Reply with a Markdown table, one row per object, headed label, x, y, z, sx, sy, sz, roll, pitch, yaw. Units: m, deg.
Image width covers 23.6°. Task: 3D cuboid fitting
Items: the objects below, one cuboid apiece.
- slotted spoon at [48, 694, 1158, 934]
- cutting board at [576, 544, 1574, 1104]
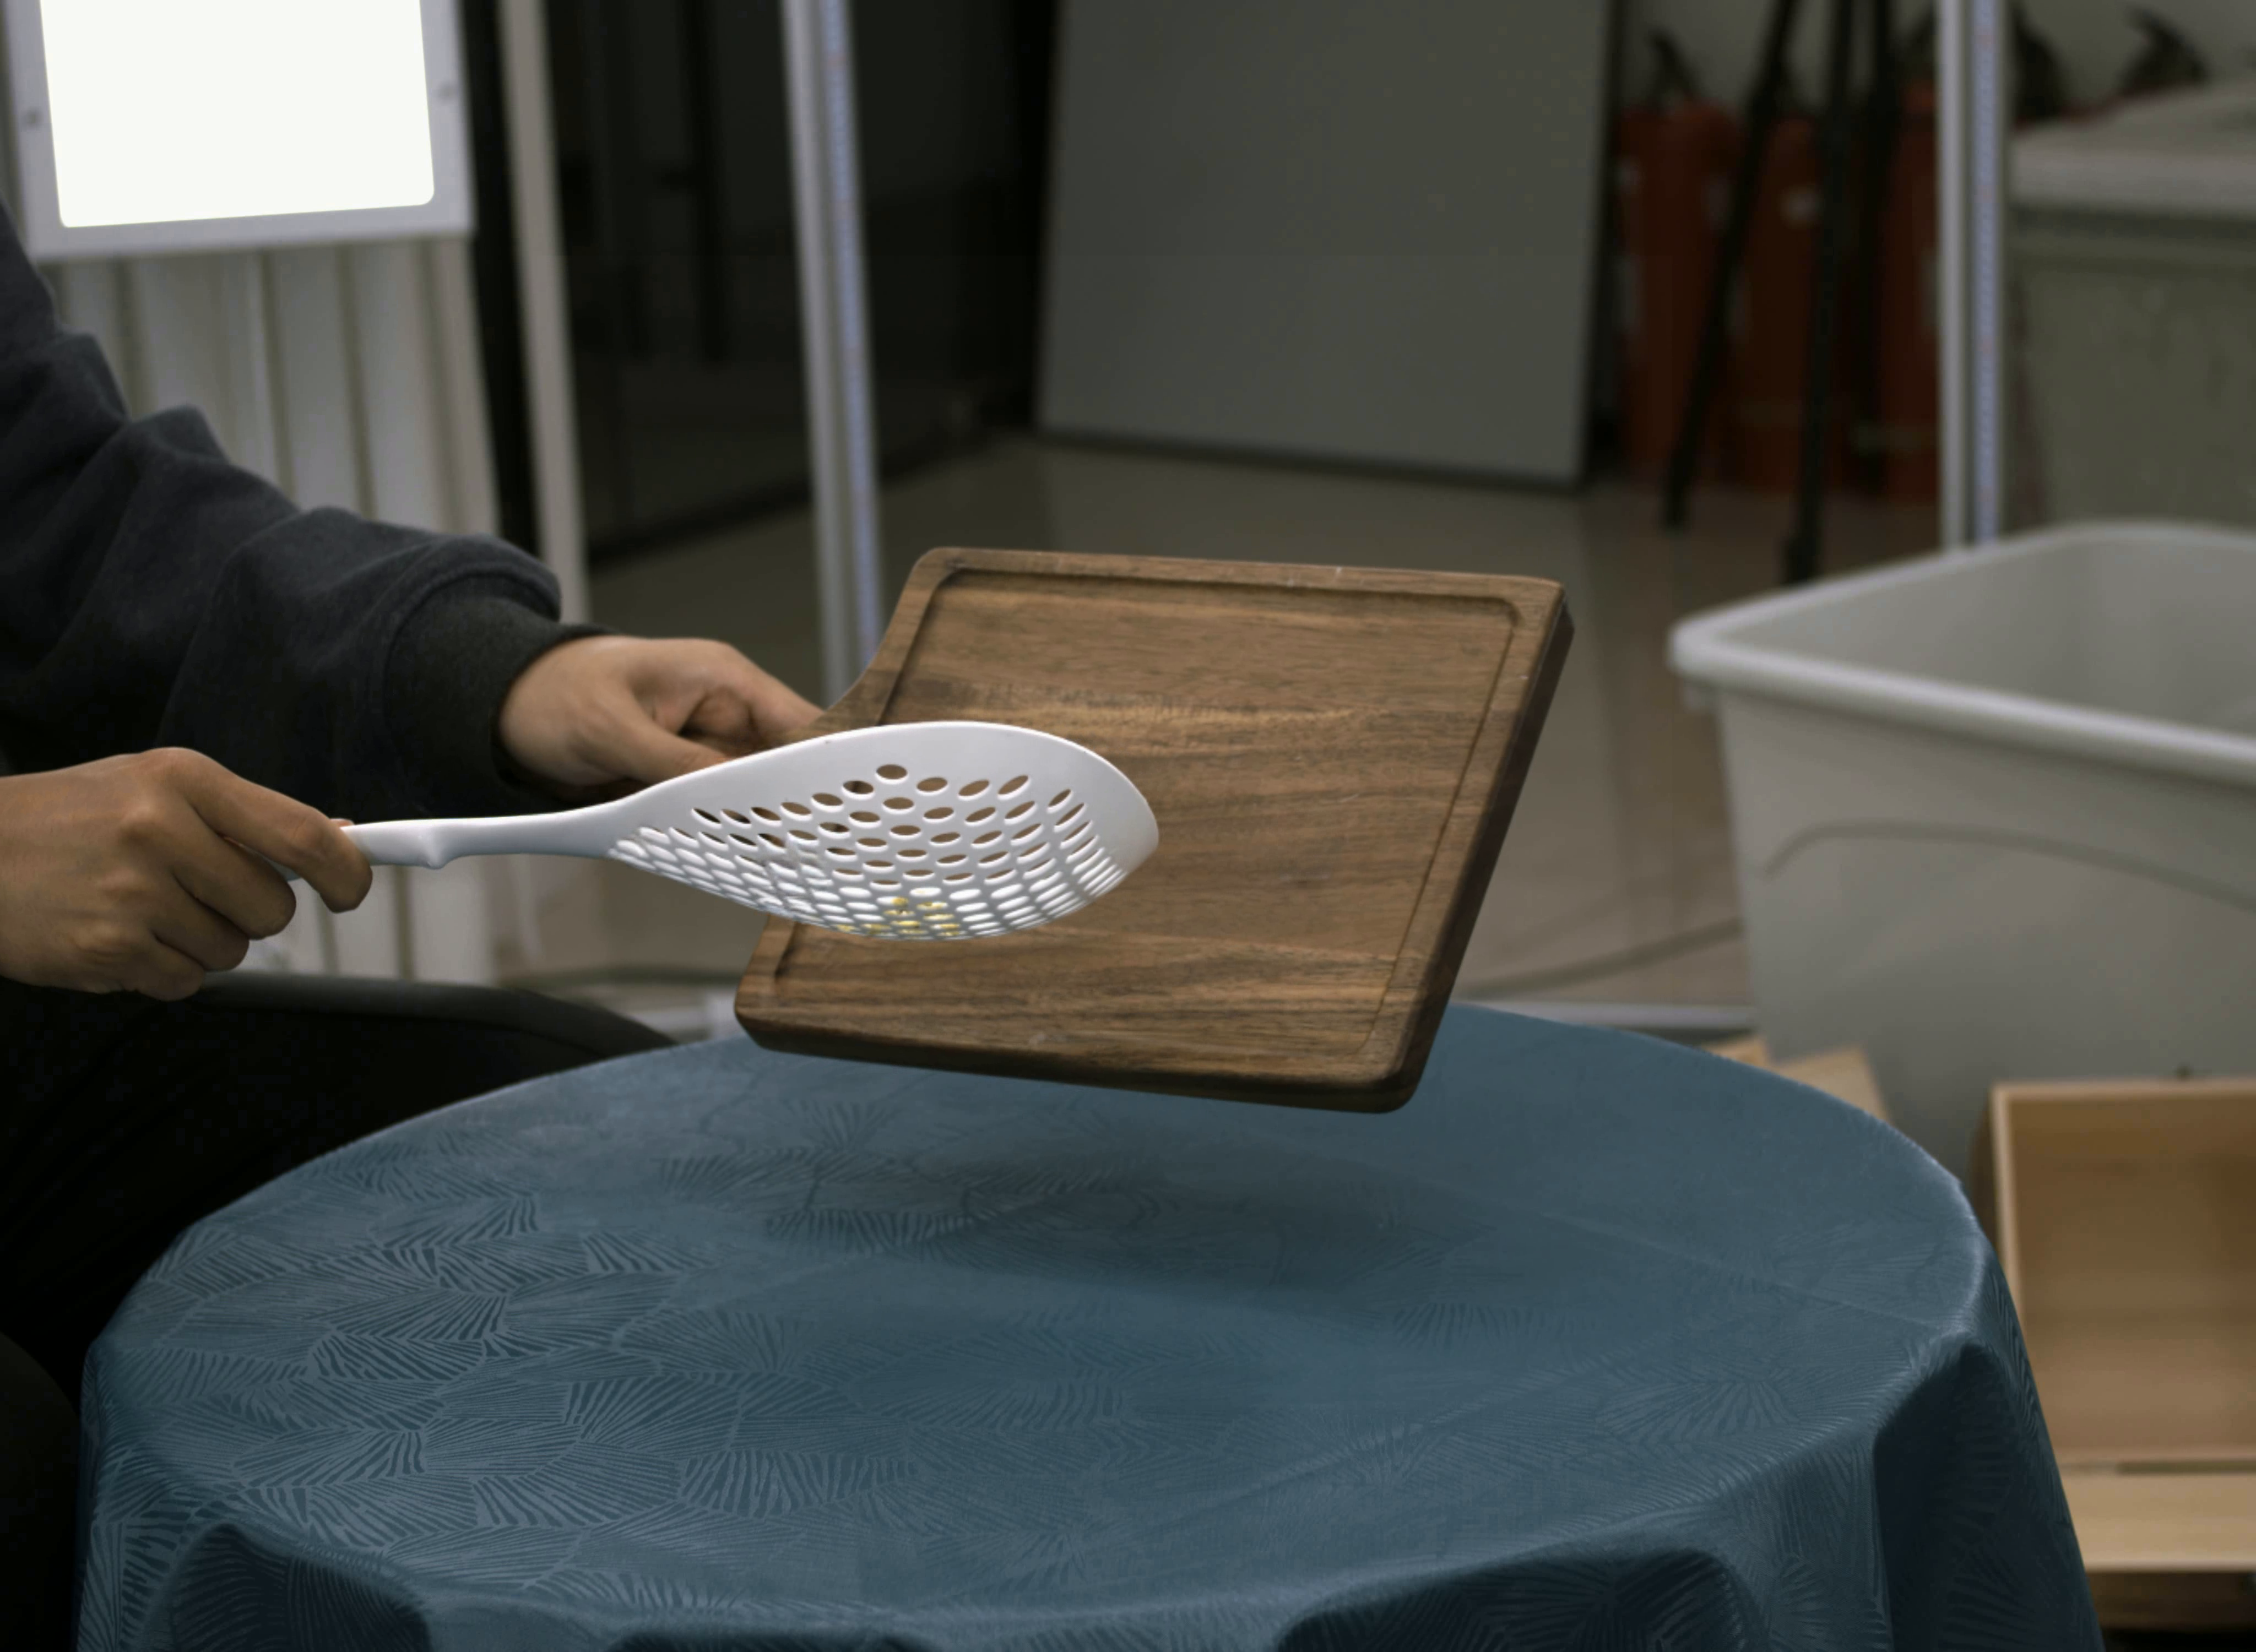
| label | x | y | z | sx | sy | sz | roll | pitch | yaw |
| --- | --- | --- | --- | --- | --- | --- | --- | --- | --- |
| slotted spoon | -0.162 | 0.008 | 1.658 | 0.346 | 0.051 | 0.136 | 0 | -22 | 14 |
| cutting board | -0.035 | -0.008 | 1.787 | 0.353 | 0.023 | 0.202 | 3 | 58 | 31 |
